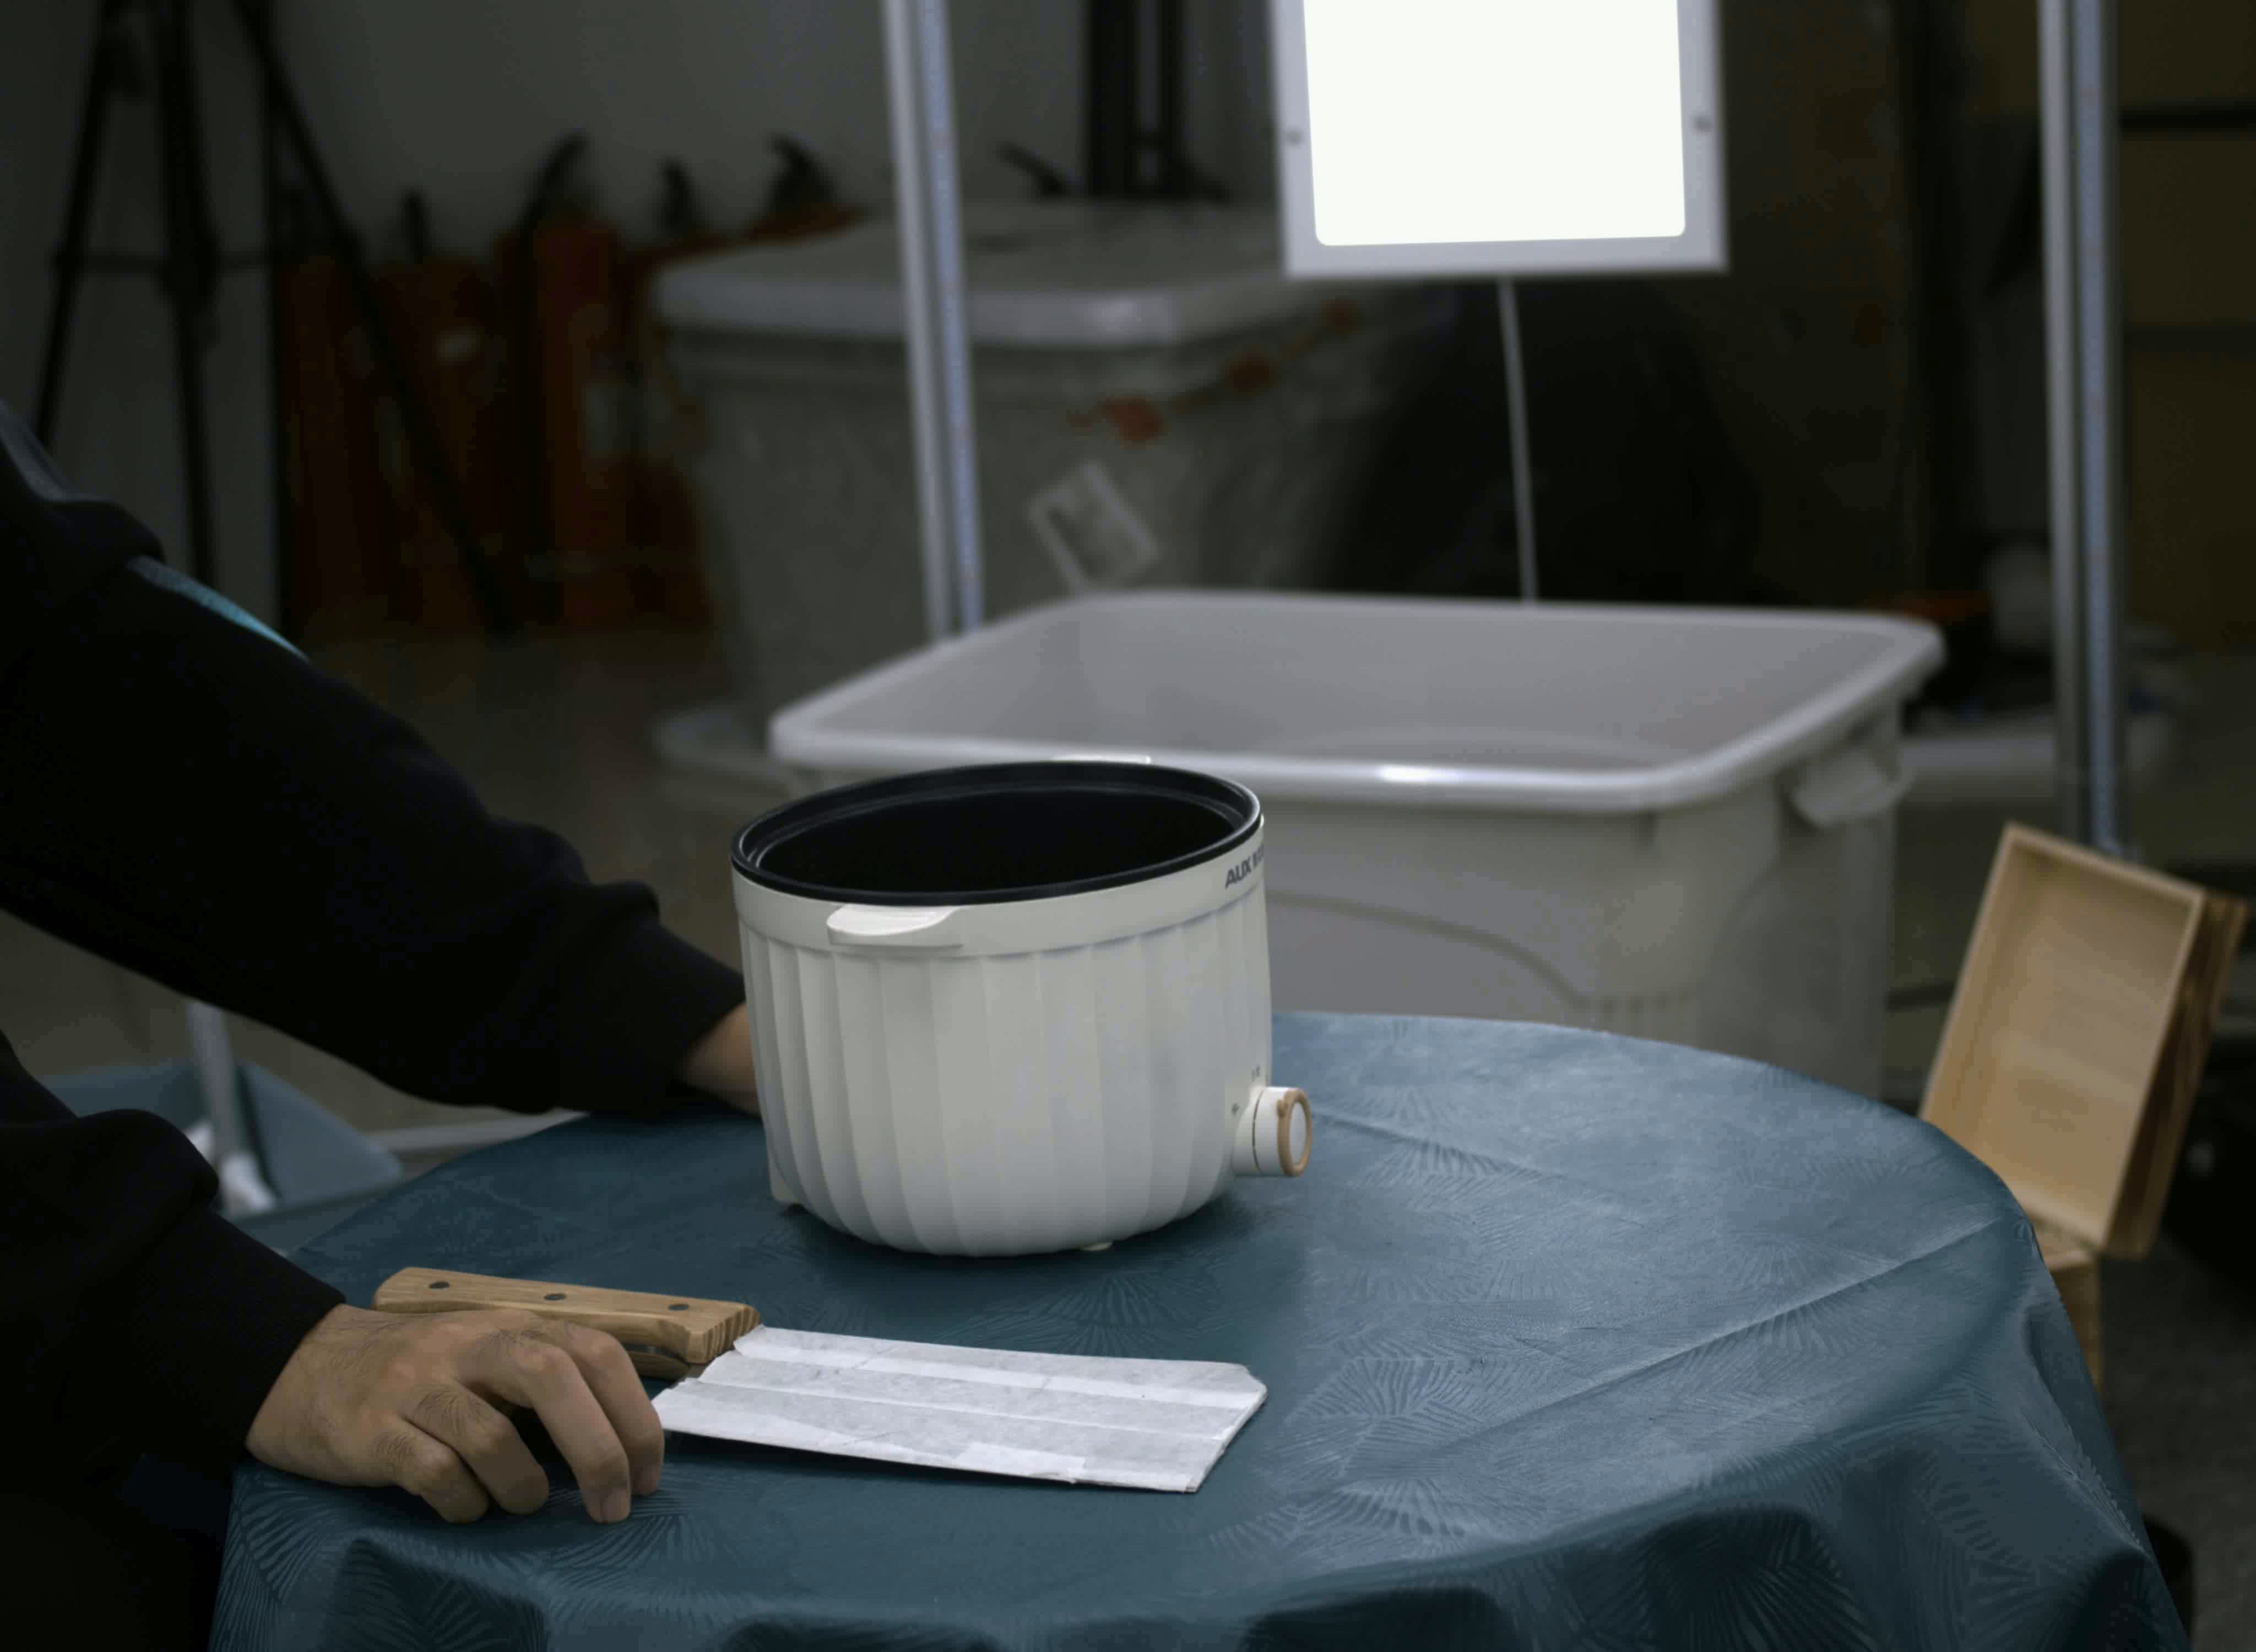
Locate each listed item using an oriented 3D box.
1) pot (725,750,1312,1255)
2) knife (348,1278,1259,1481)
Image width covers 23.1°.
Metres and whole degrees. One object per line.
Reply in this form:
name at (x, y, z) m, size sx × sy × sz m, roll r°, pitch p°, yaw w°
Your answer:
pot at (-0.035, 0.063, 1.876) m, size 0.193 × 0.143 × 0.236 m, roll -3°, pitch 15°, yaw 21°
knife at (-0.105, 0.171, 1.718) m, size 0.320 × 0.022 × 0.111 m, roll 5°, pitch 17°, yaw 26°
